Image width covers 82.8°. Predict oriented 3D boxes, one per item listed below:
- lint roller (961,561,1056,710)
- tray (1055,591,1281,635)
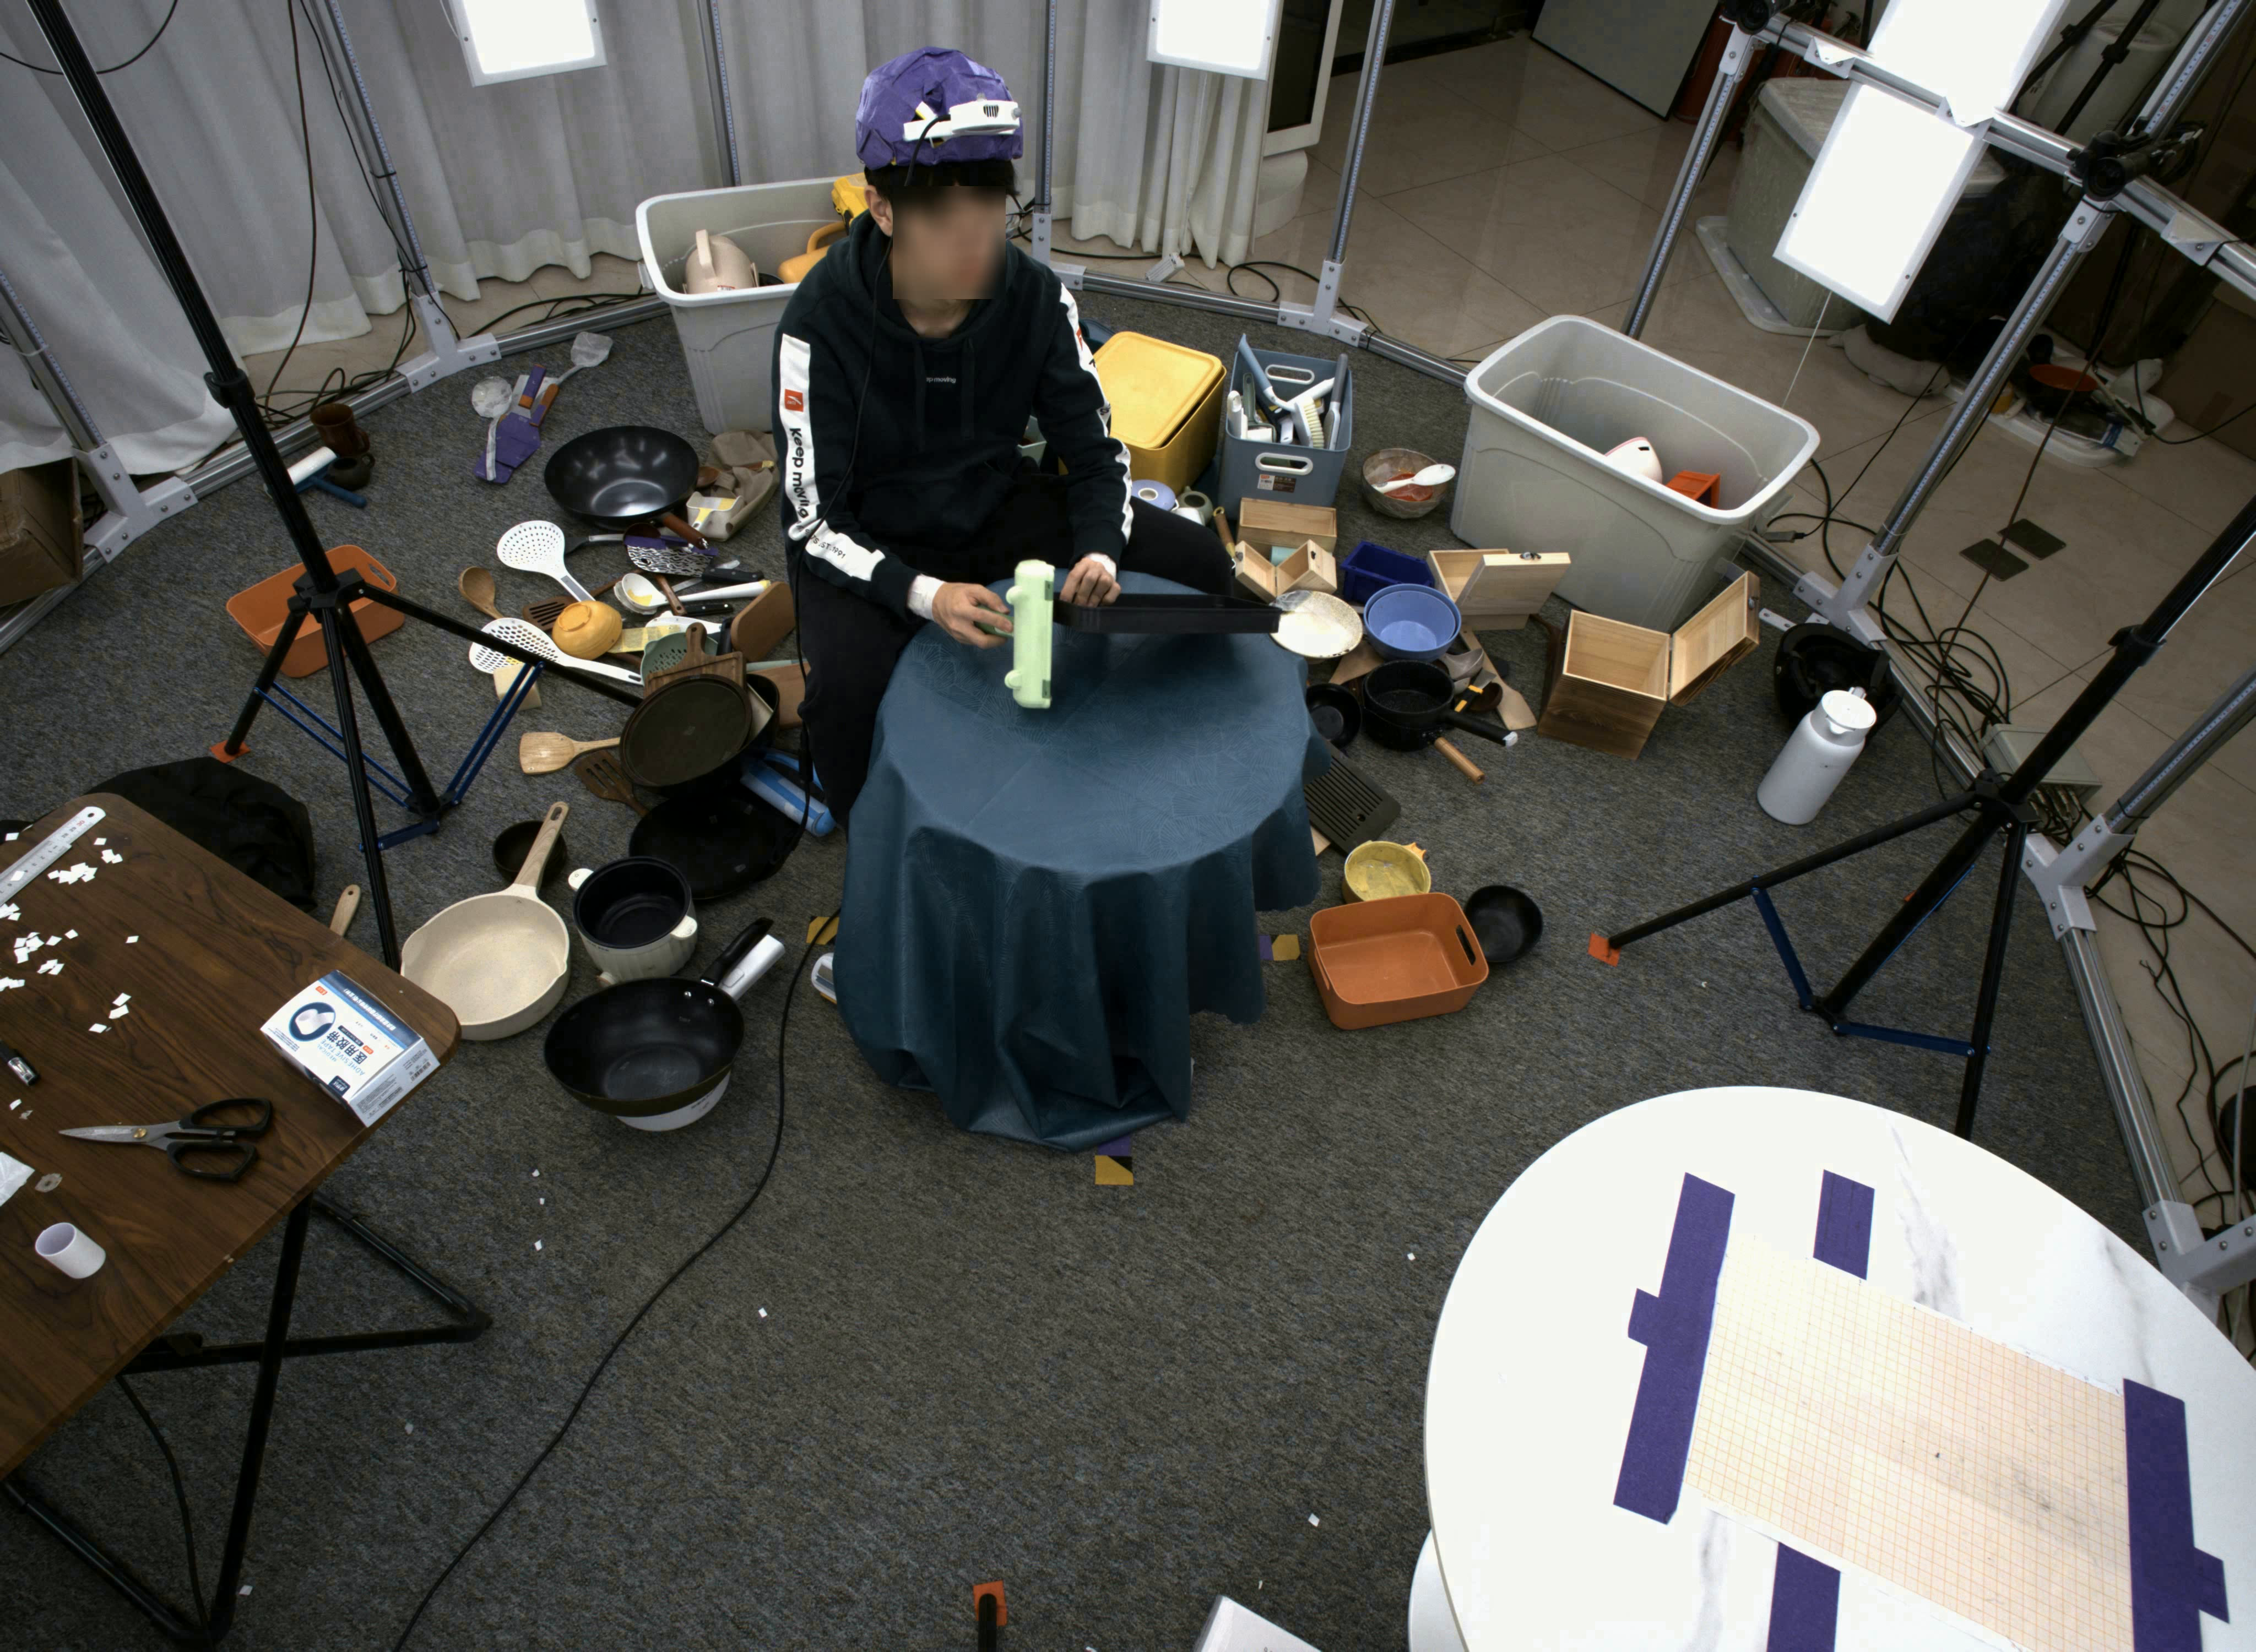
[{"bbox_3d":[-0.176,-0.270,1.767,0.185,0.195,0.083,16,25,31],"label":"lint roller"},{"bbox_3d":[0.040,-0.300,1.807,0.317,0.036,0.187,-4,17,-26],"label":"tray"}]
